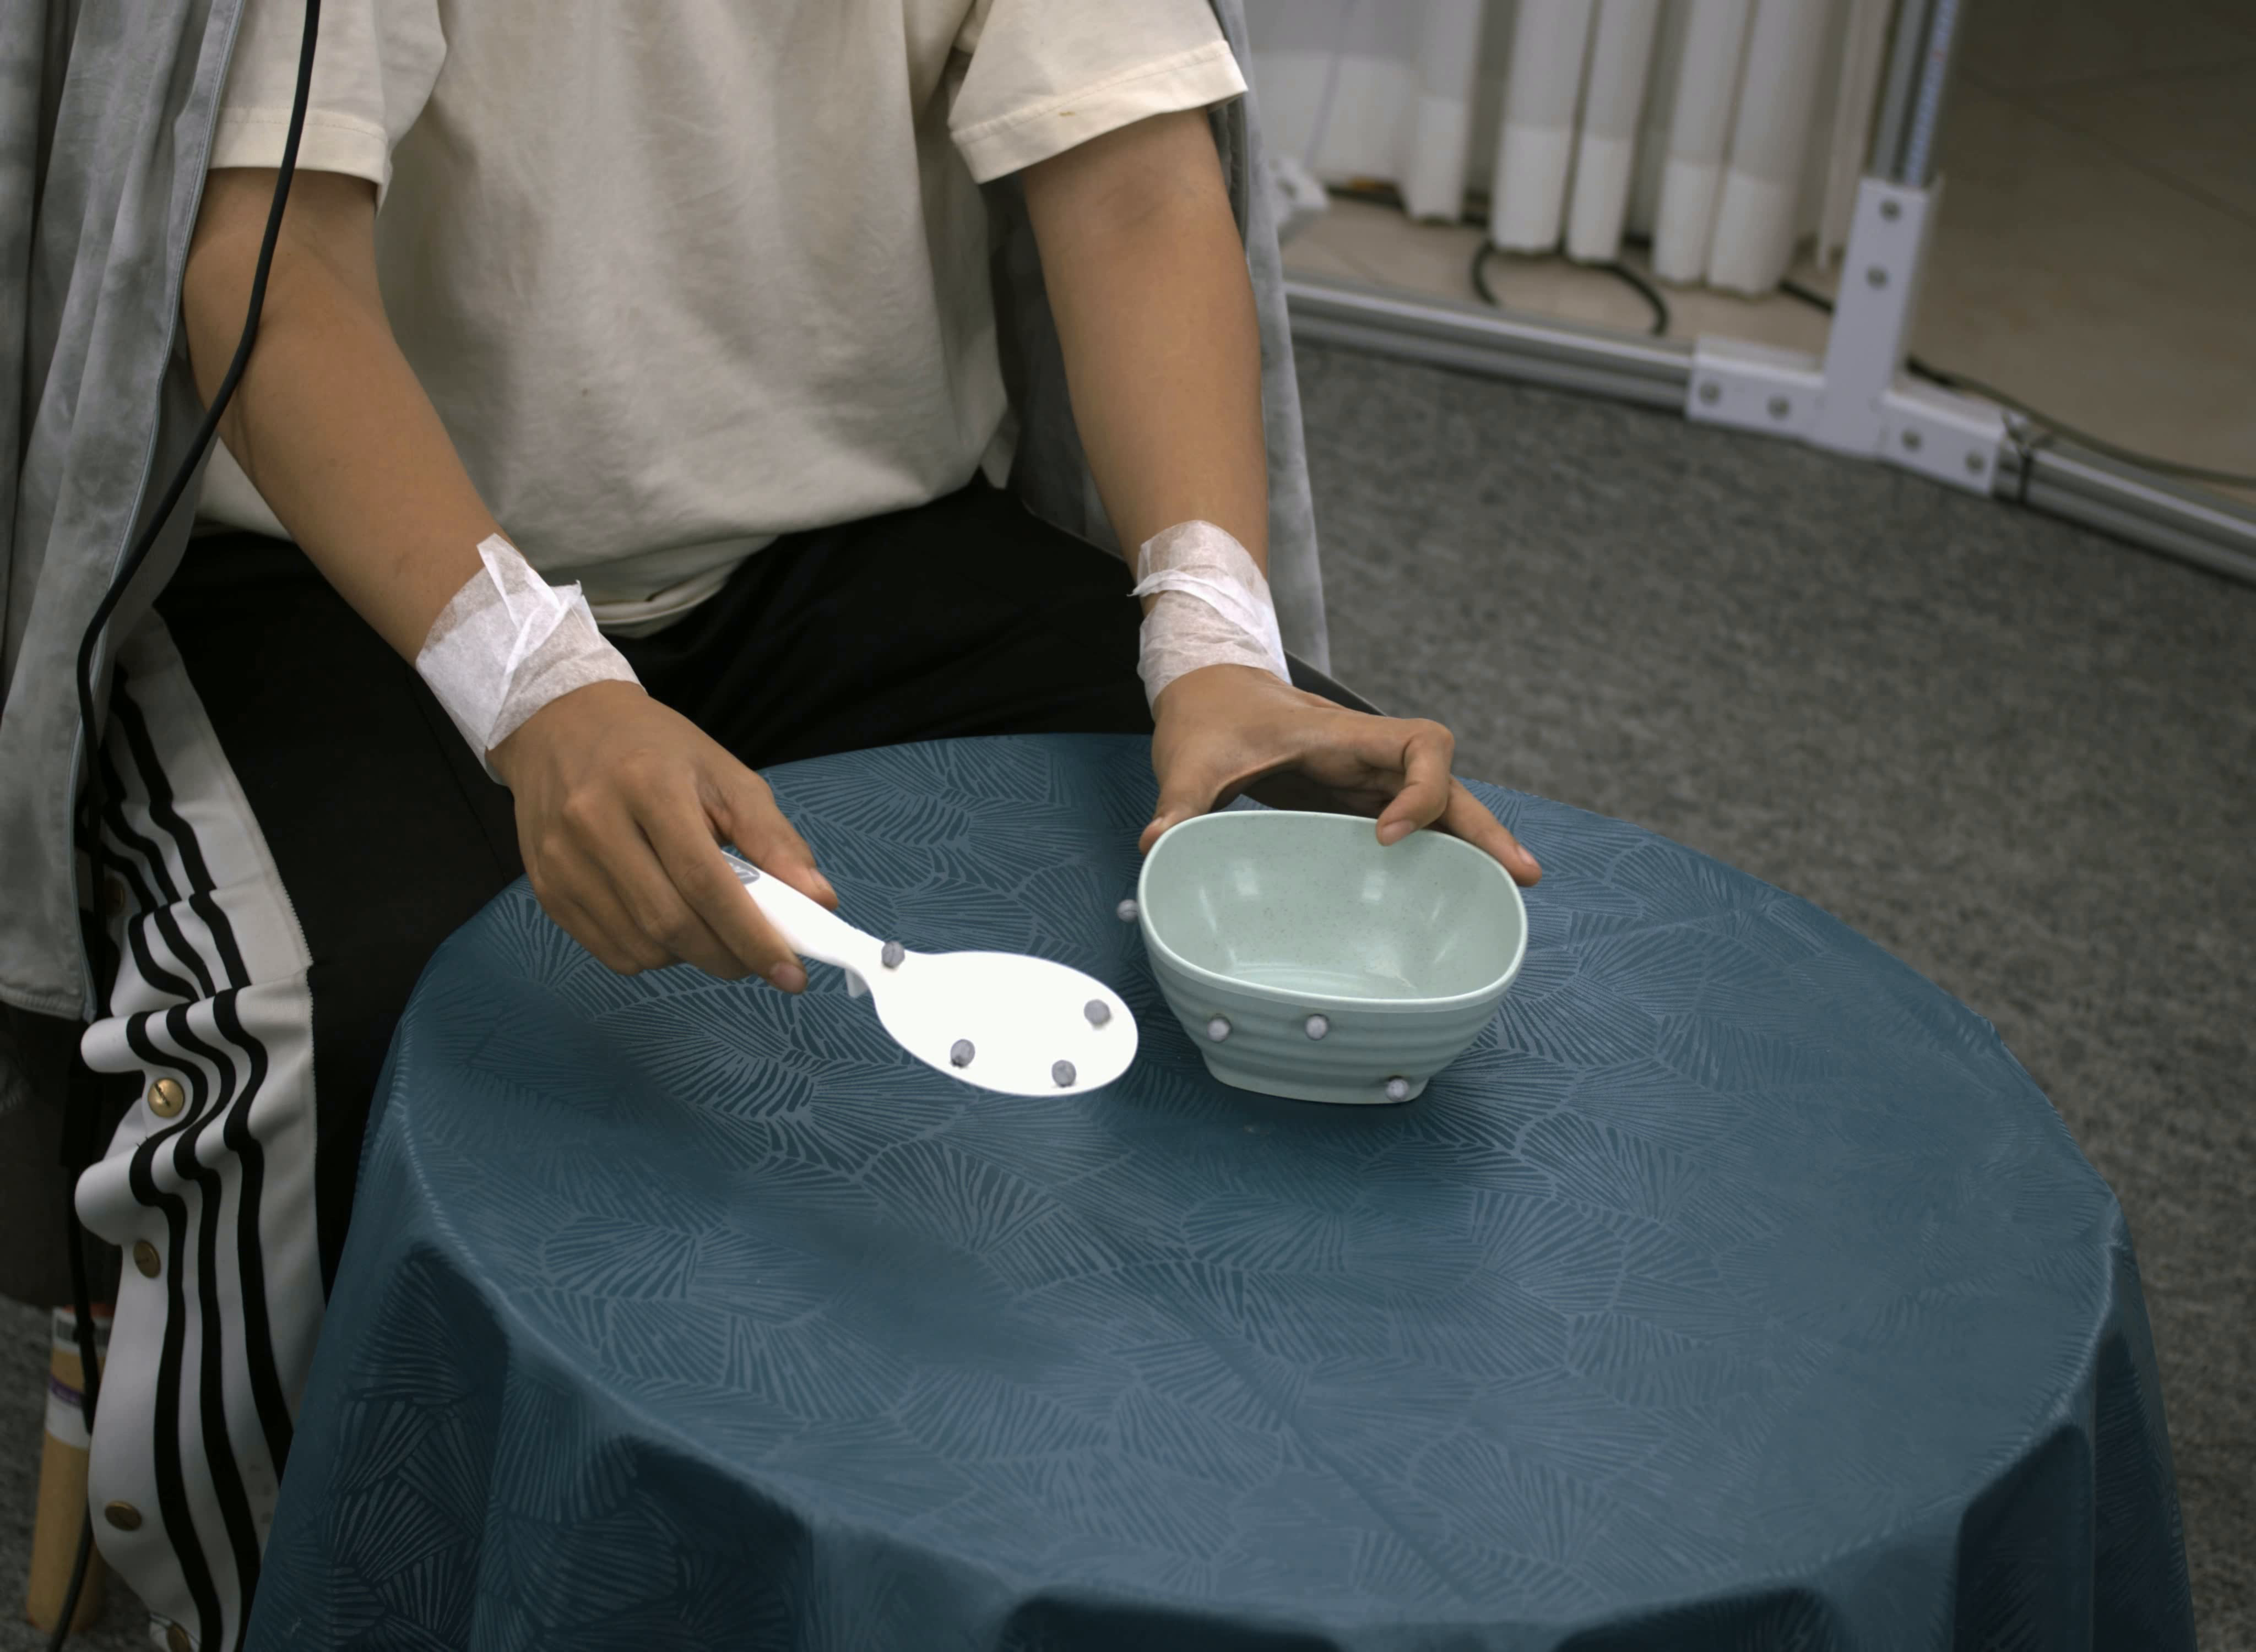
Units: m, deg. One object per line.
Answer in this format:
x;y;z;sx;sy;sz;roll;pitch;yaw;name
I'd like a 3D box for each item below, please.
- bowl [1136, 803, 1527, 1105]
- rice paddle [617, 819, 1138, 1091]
0.070;0.052;1.895;0.151;0.058;0.152;3;30;-2;bowl
-0.084;0.043;1.772;0.206;0.029;0.069;22;43;31;rice paddle
